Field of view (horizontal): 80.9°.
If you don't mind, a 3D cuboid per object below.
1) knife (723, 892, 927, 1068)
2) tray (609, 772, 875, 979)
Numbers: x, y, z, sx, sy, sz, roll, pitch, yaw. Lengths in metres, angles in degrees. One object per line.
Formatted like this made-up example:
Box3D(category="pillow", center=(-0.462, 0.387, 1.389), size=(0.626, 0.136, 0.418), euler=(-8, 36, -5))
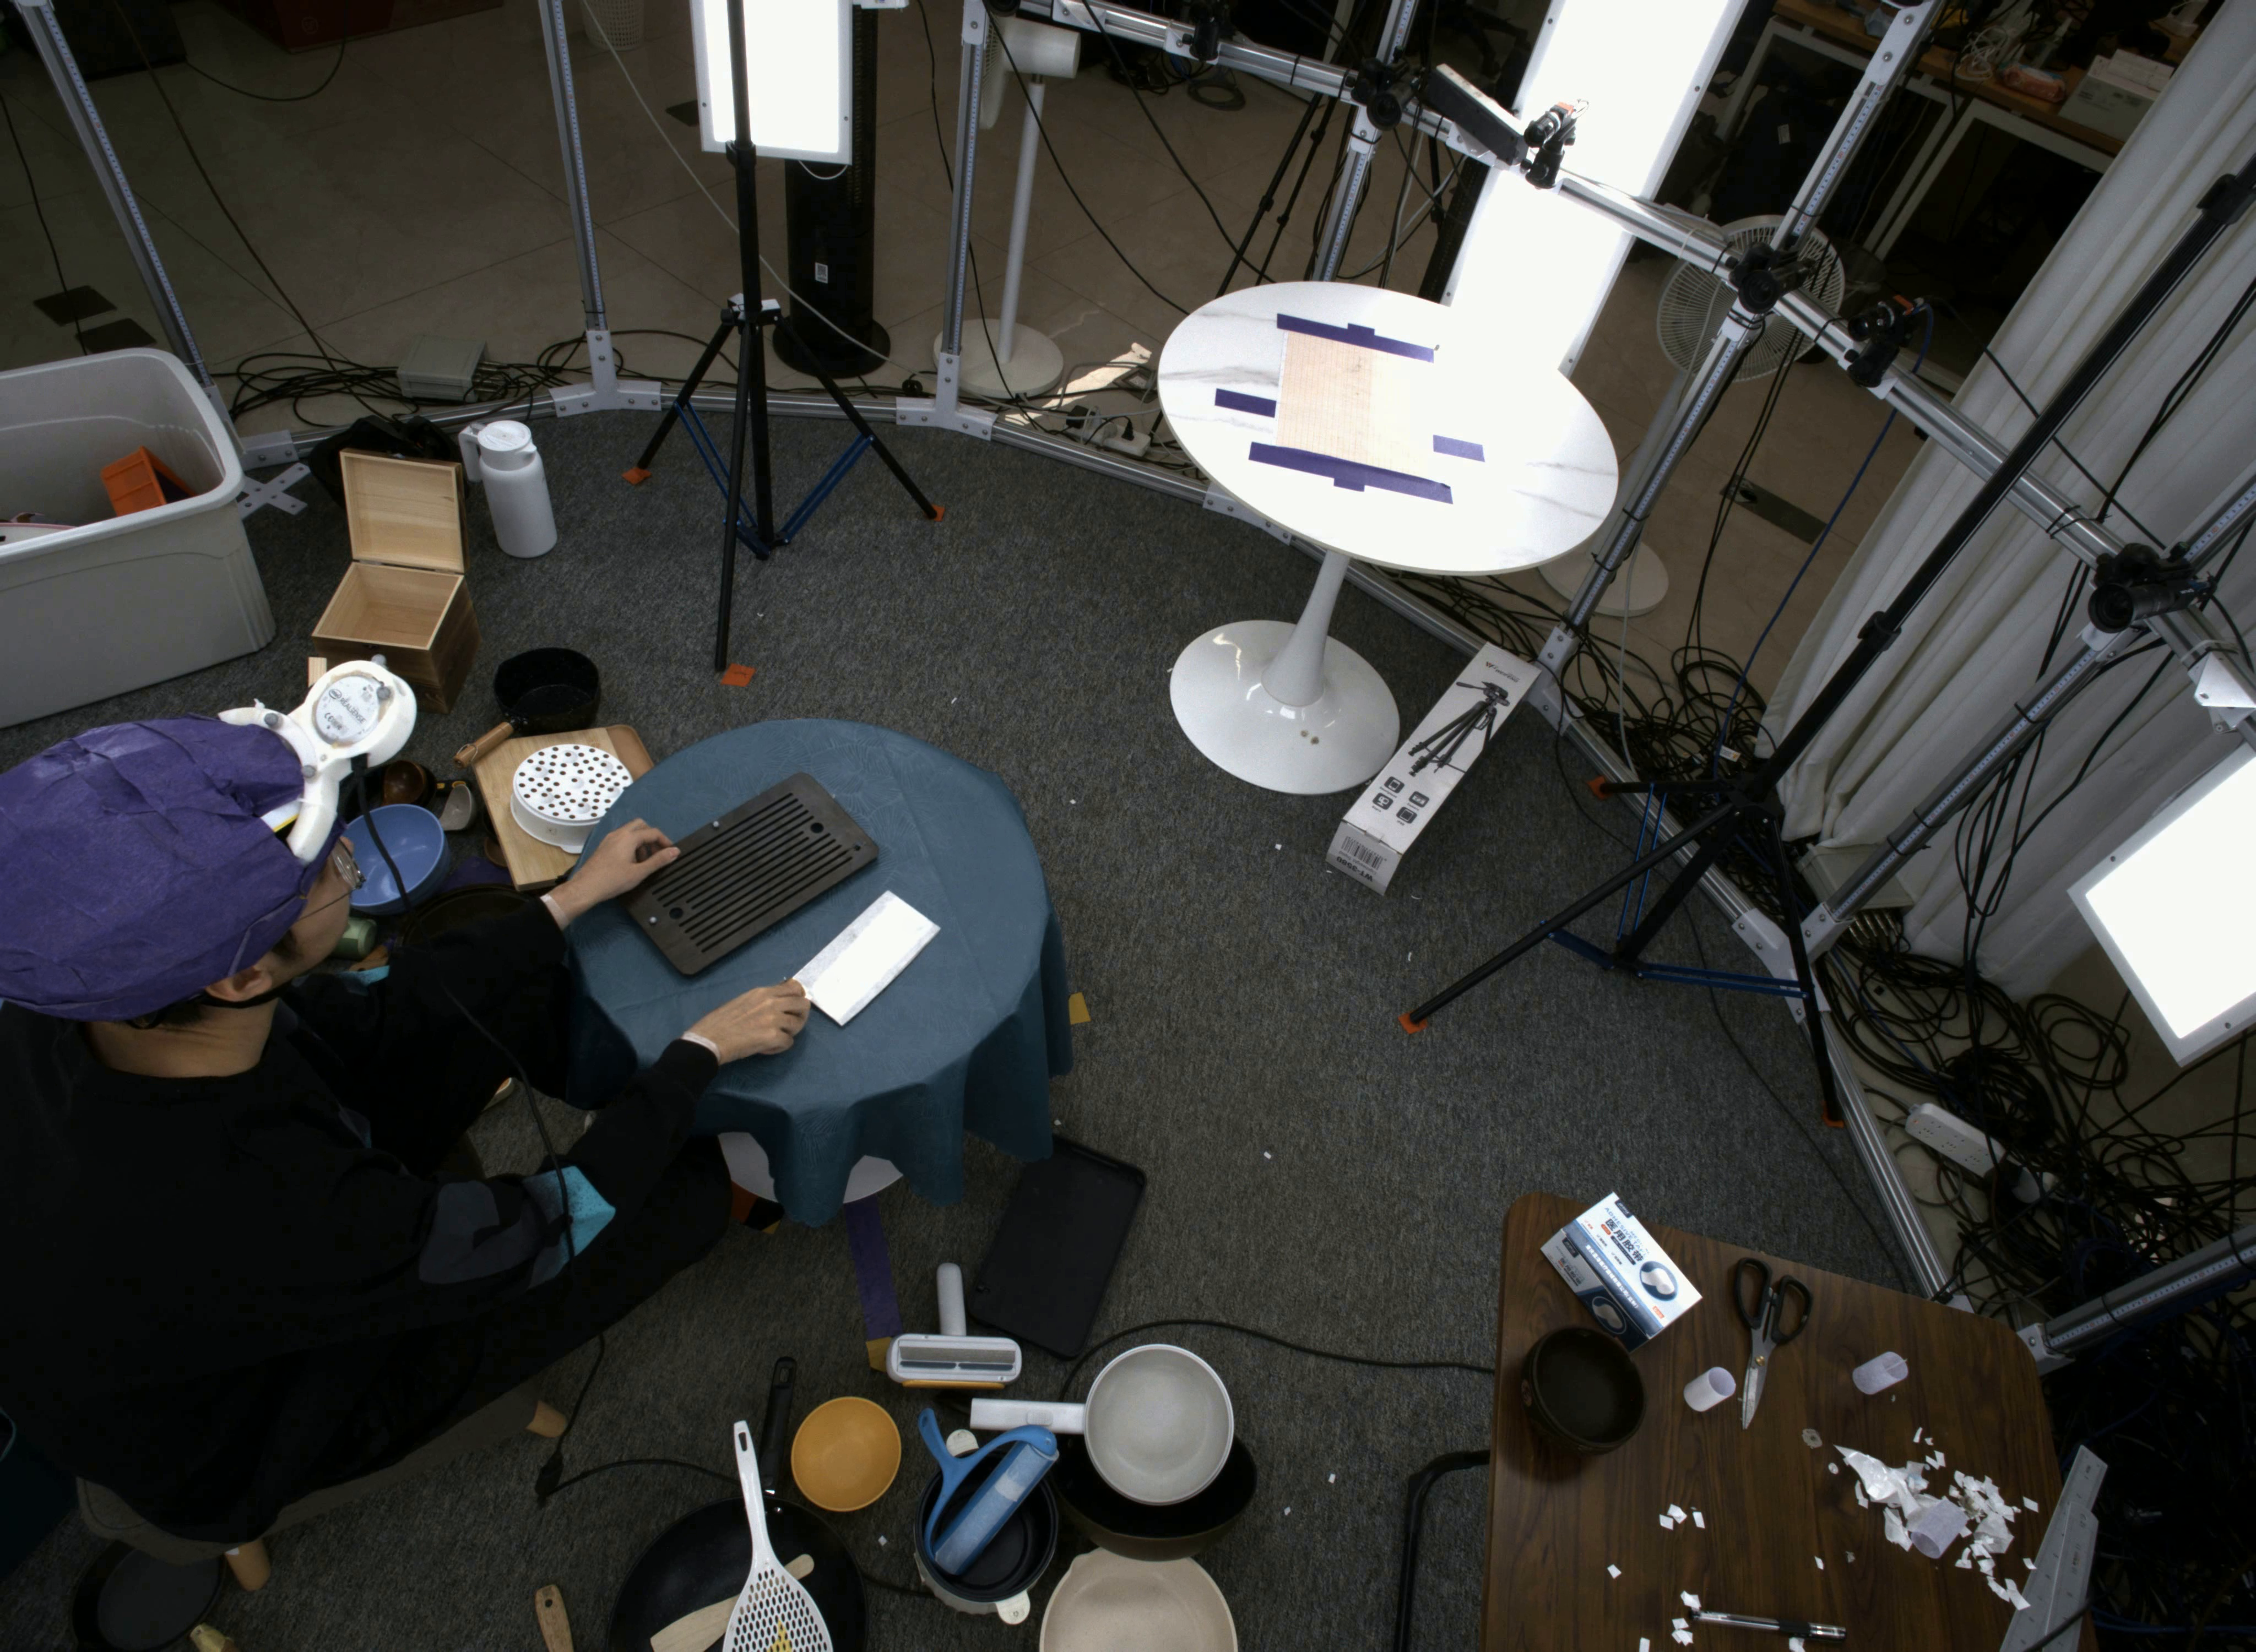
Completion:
Box3D(category="knife", center=(-0.357, 0.192, 1.578), size=(0.091, 0.021, 0.305), euler=(36, 51, 8))
Box3D(category="tray", center=(-0.486, 0.056, 1.637), size=(0.167, 0.019, 0.306), euler=(45, 55, 14))
